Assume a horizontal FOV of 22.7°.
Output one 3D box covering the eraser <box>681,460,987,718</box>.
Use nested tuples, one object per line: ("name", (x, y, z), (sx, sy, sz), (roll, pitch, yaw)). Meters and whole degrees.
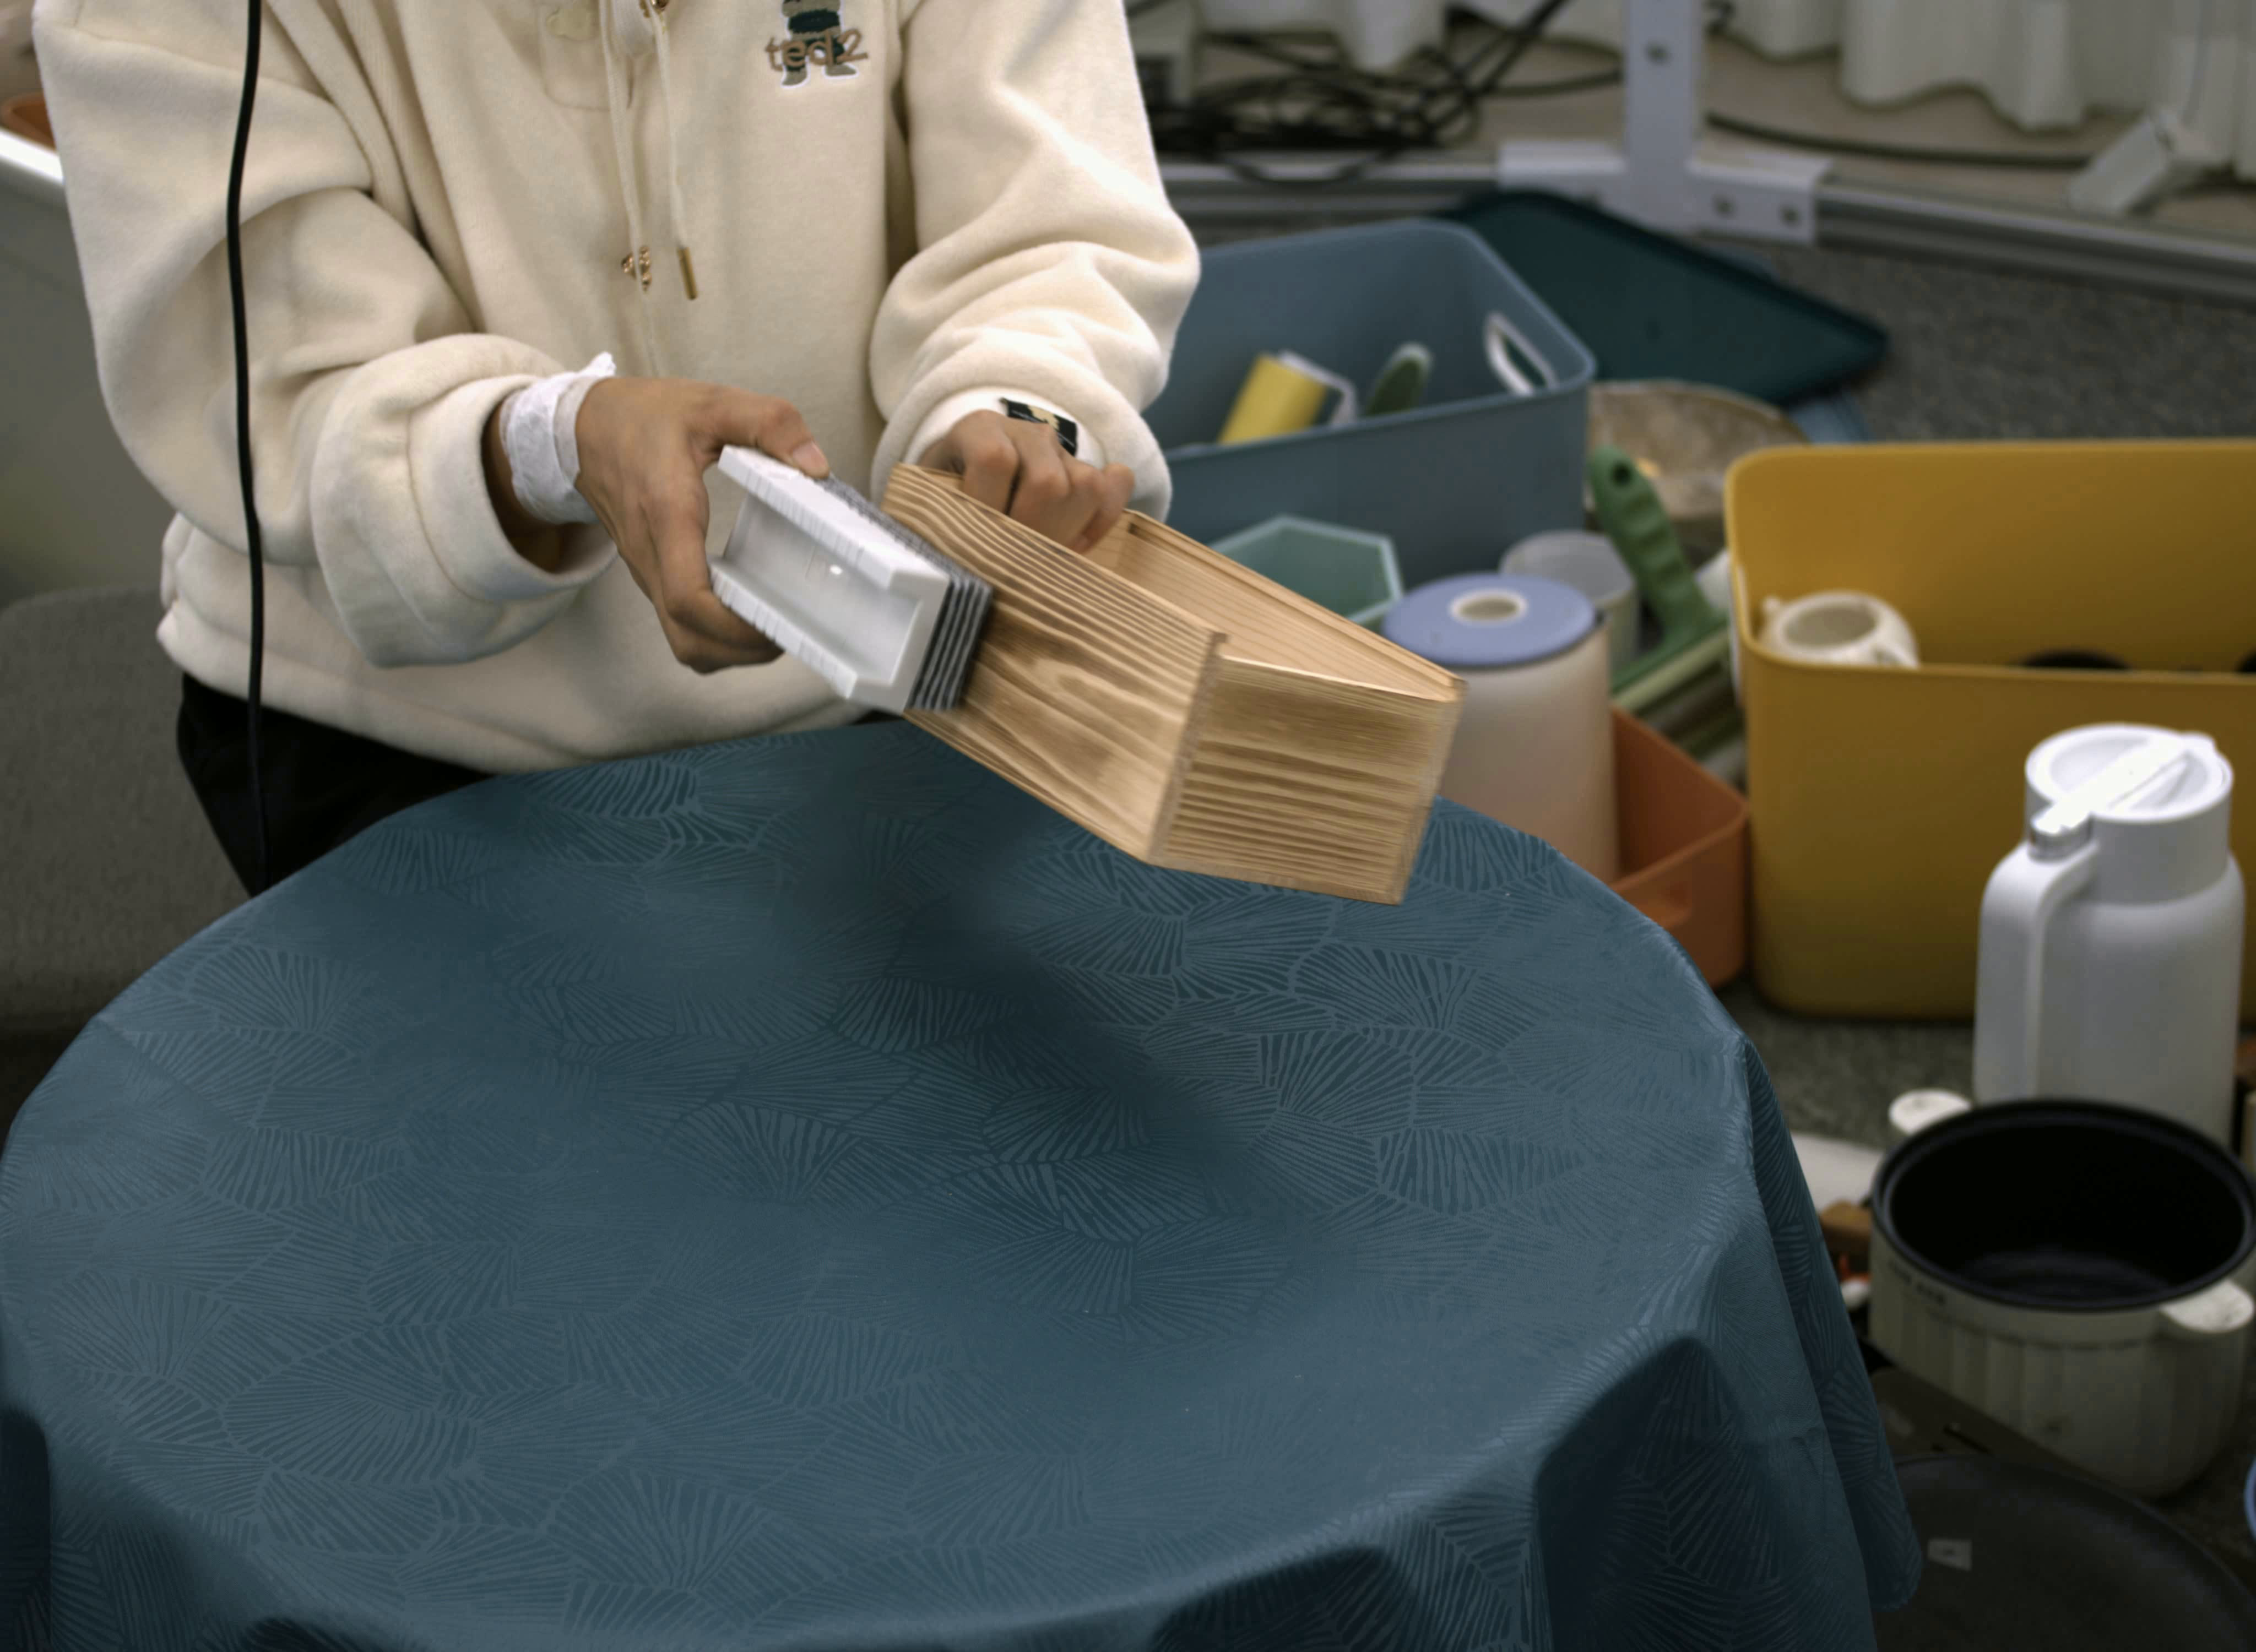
("eraser", (-0.101, -0.081, 1.920), (0.046, 0.049, 0.134), (10, 13, -34))

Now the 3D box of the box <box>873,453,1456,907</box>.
("box", (0.002, -0.051, 1.901), (0.107, 0.080, 0.212), (11, 12, -35))
